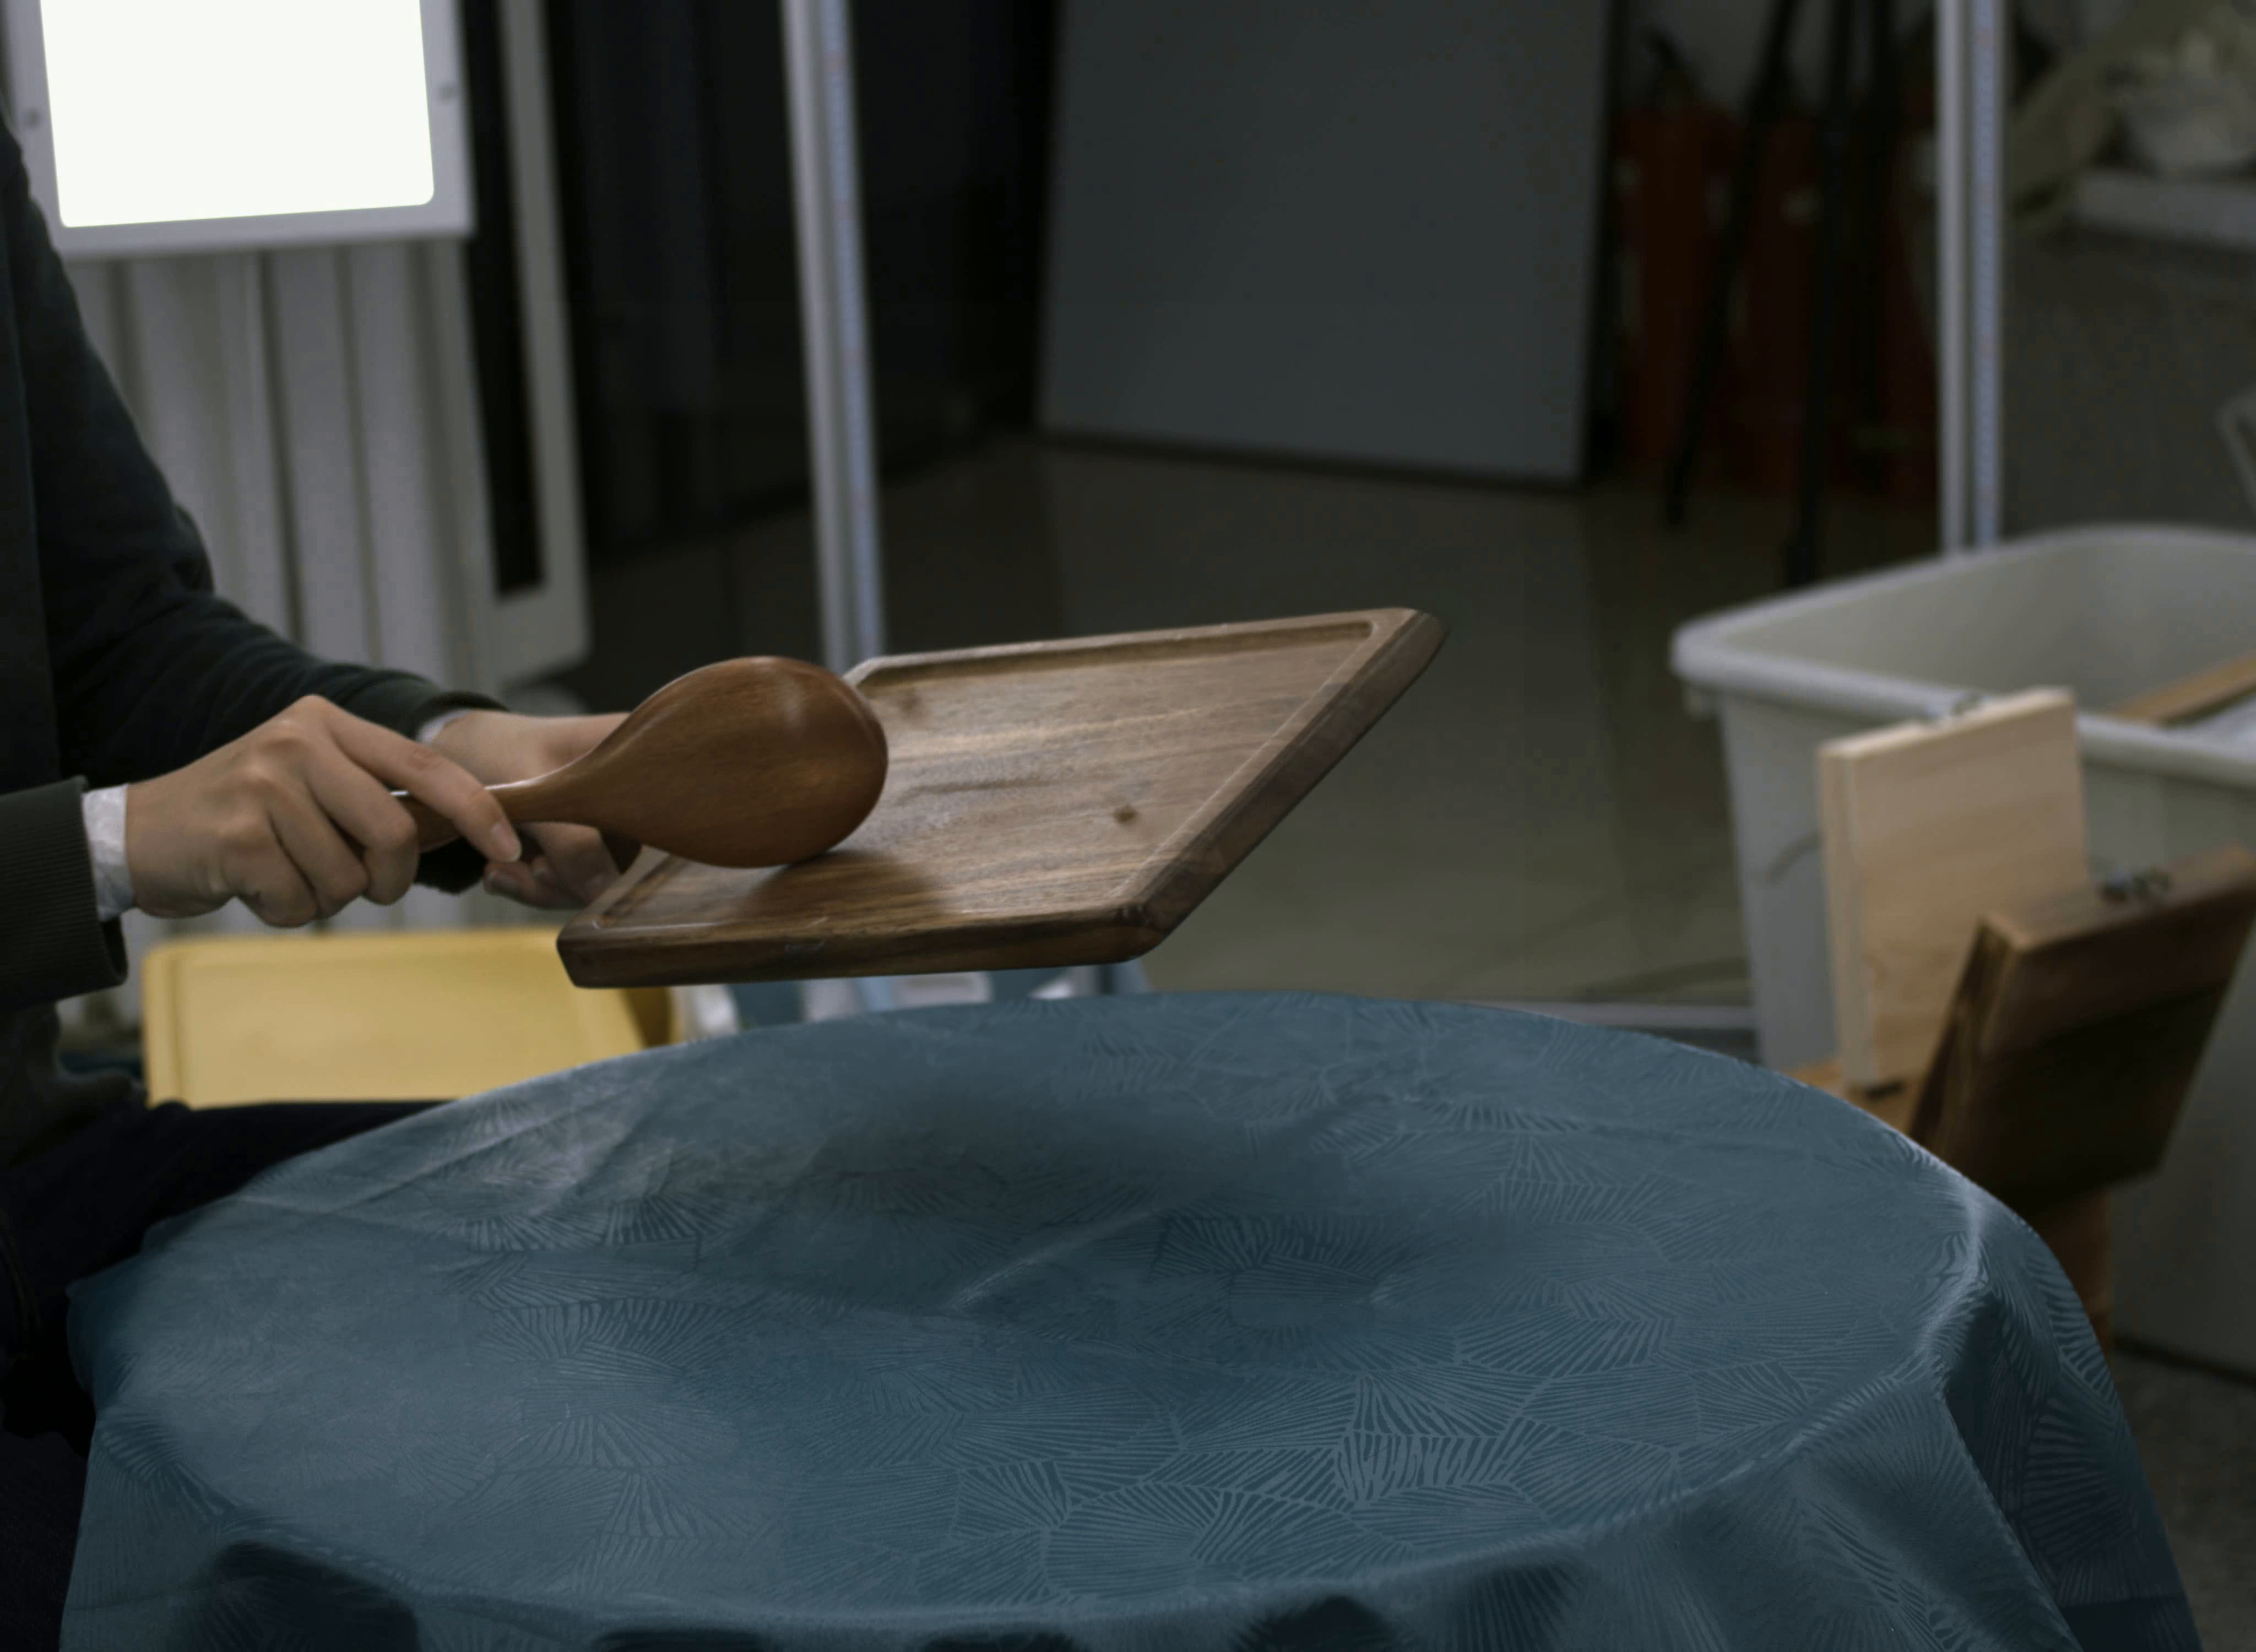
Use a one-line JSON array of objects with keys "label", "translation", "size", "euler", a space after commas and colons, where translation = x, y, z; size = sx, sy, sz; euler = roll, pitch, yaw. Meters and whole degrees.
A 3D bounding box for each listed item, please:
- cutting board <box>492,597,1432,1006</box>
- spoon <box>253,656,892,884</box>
[{"label": "cutting board", "translation": [-0.082, -0.005, 1.807], "size": [0.355, 0.023, 0.199], "euler": [-5, 29, 40]}, {"label": "spoon", "translation": [-0.182, -0.009, 1.771], "size": [0.214, 0.076, 0.017], "euler": [-9, 25, 7]}]
